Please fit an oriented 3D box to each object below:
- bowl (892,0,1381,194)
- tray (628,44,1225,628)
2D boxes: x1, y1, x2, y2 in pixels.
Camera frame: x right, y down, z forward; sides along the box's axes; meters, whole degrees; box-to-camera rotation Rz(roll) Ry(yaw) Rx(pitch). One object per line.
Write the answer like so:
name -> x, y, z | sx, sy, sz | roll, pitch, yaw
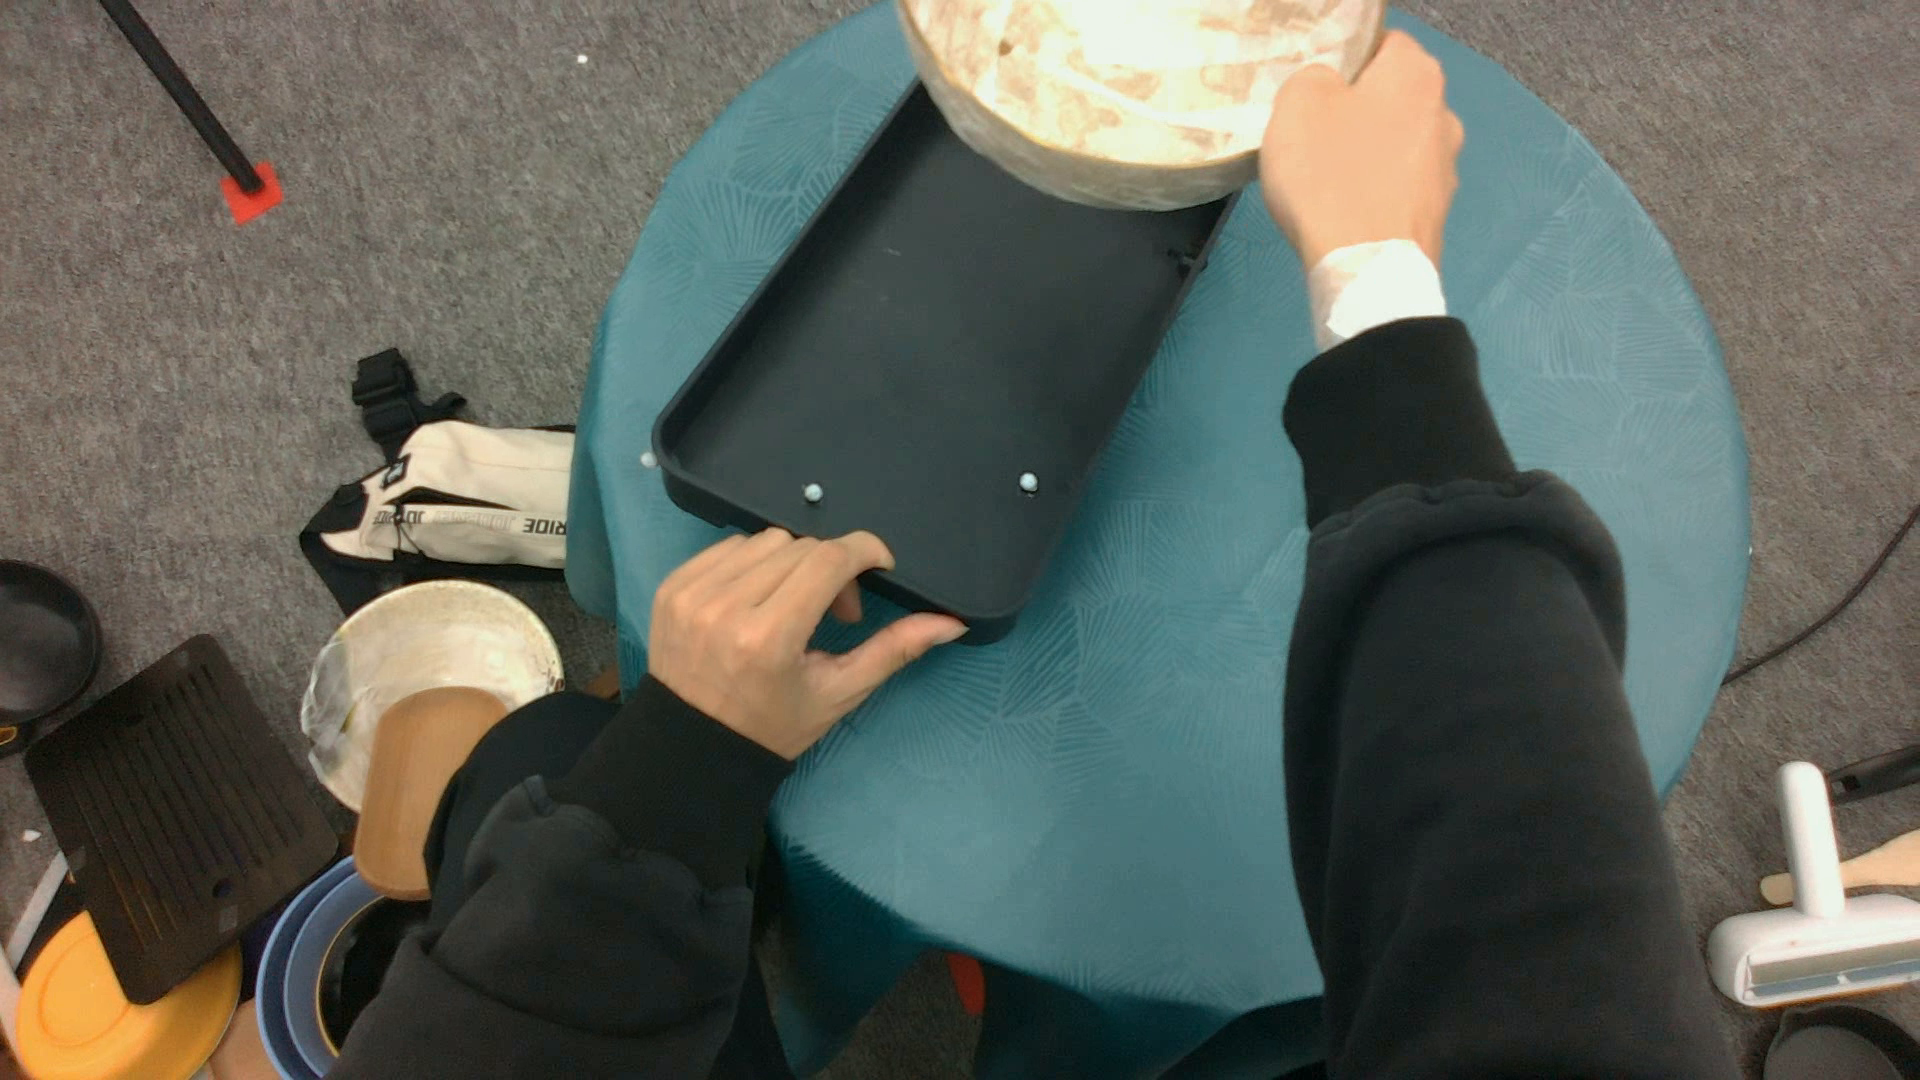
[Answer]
bowl -> 0.064, -0.225, 0.589 | 0.215, 0.094, 0.215 | 2, 72, -6
tray -> -0.004, -0.118, 0.676 | 0.184, 0.037, 0.319 | 26, 59, 7
